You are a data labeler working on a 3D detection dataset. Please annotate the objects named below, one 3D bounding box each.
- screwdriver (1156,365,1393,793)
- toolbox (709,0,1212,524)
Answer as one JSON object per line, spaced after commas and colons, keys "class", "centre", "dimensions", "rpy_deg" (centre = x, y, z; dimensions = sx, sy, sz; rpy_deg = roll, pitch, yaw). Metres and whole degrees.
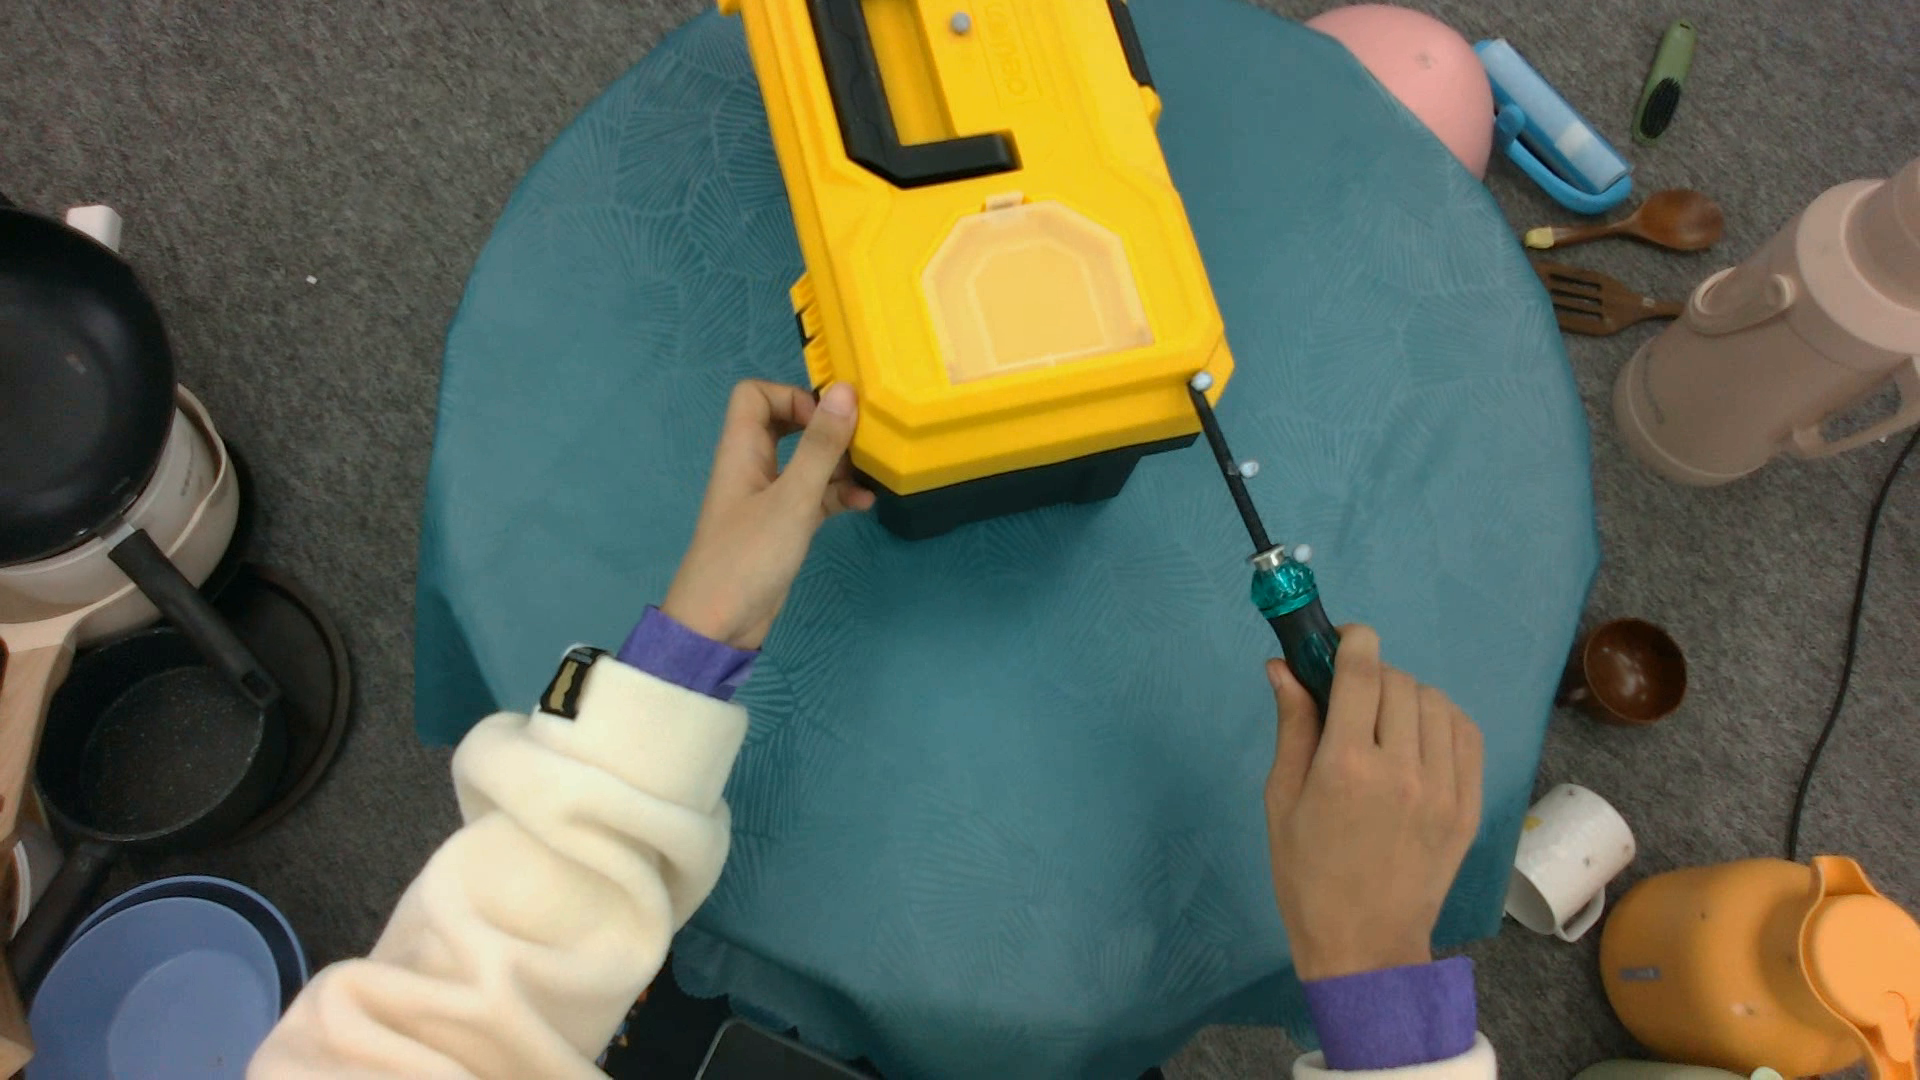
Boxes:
{"class": "screwdriver", "centre": [0.123, 0.014, 0.559], "dimensions": [0.034, 0.033, 0.190], "rpy_deg": [-28, 91, -13]}
{"class": "toolbox", "centre": [-0.019, -0.191, 0.660], "dimensions": [0.181, 0.172, 0.352], "rpy_deg": [-13, 73, -9]}
